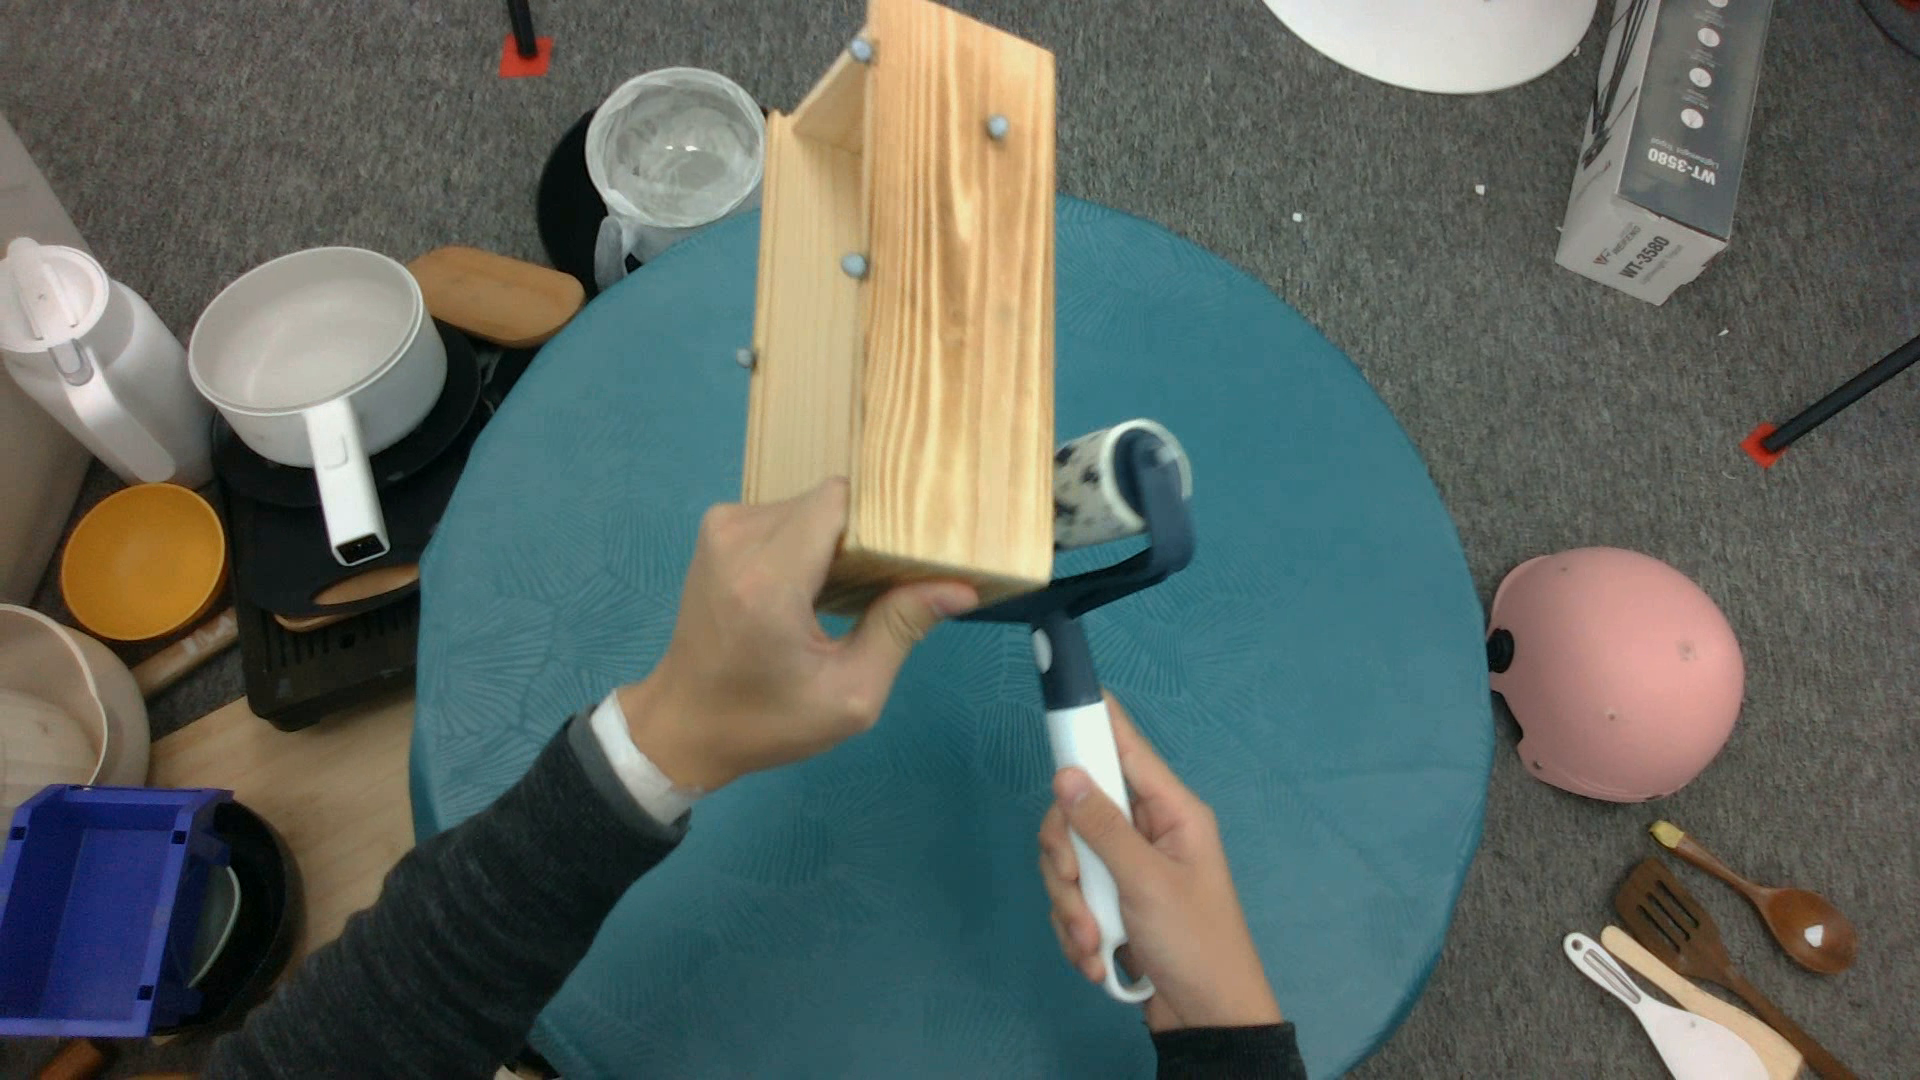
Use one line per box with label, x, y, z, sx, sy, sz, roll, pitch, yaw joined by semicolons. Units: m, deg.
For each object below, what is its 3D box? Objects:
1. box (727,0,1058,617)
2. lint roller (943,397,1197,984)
box;-0.026;-0.085;0.539;0.080;0.107;0.212;11;73;-31
lint roller;0.051;0.073;0.622;0.050;0.175;0.247;-10;88;-38
